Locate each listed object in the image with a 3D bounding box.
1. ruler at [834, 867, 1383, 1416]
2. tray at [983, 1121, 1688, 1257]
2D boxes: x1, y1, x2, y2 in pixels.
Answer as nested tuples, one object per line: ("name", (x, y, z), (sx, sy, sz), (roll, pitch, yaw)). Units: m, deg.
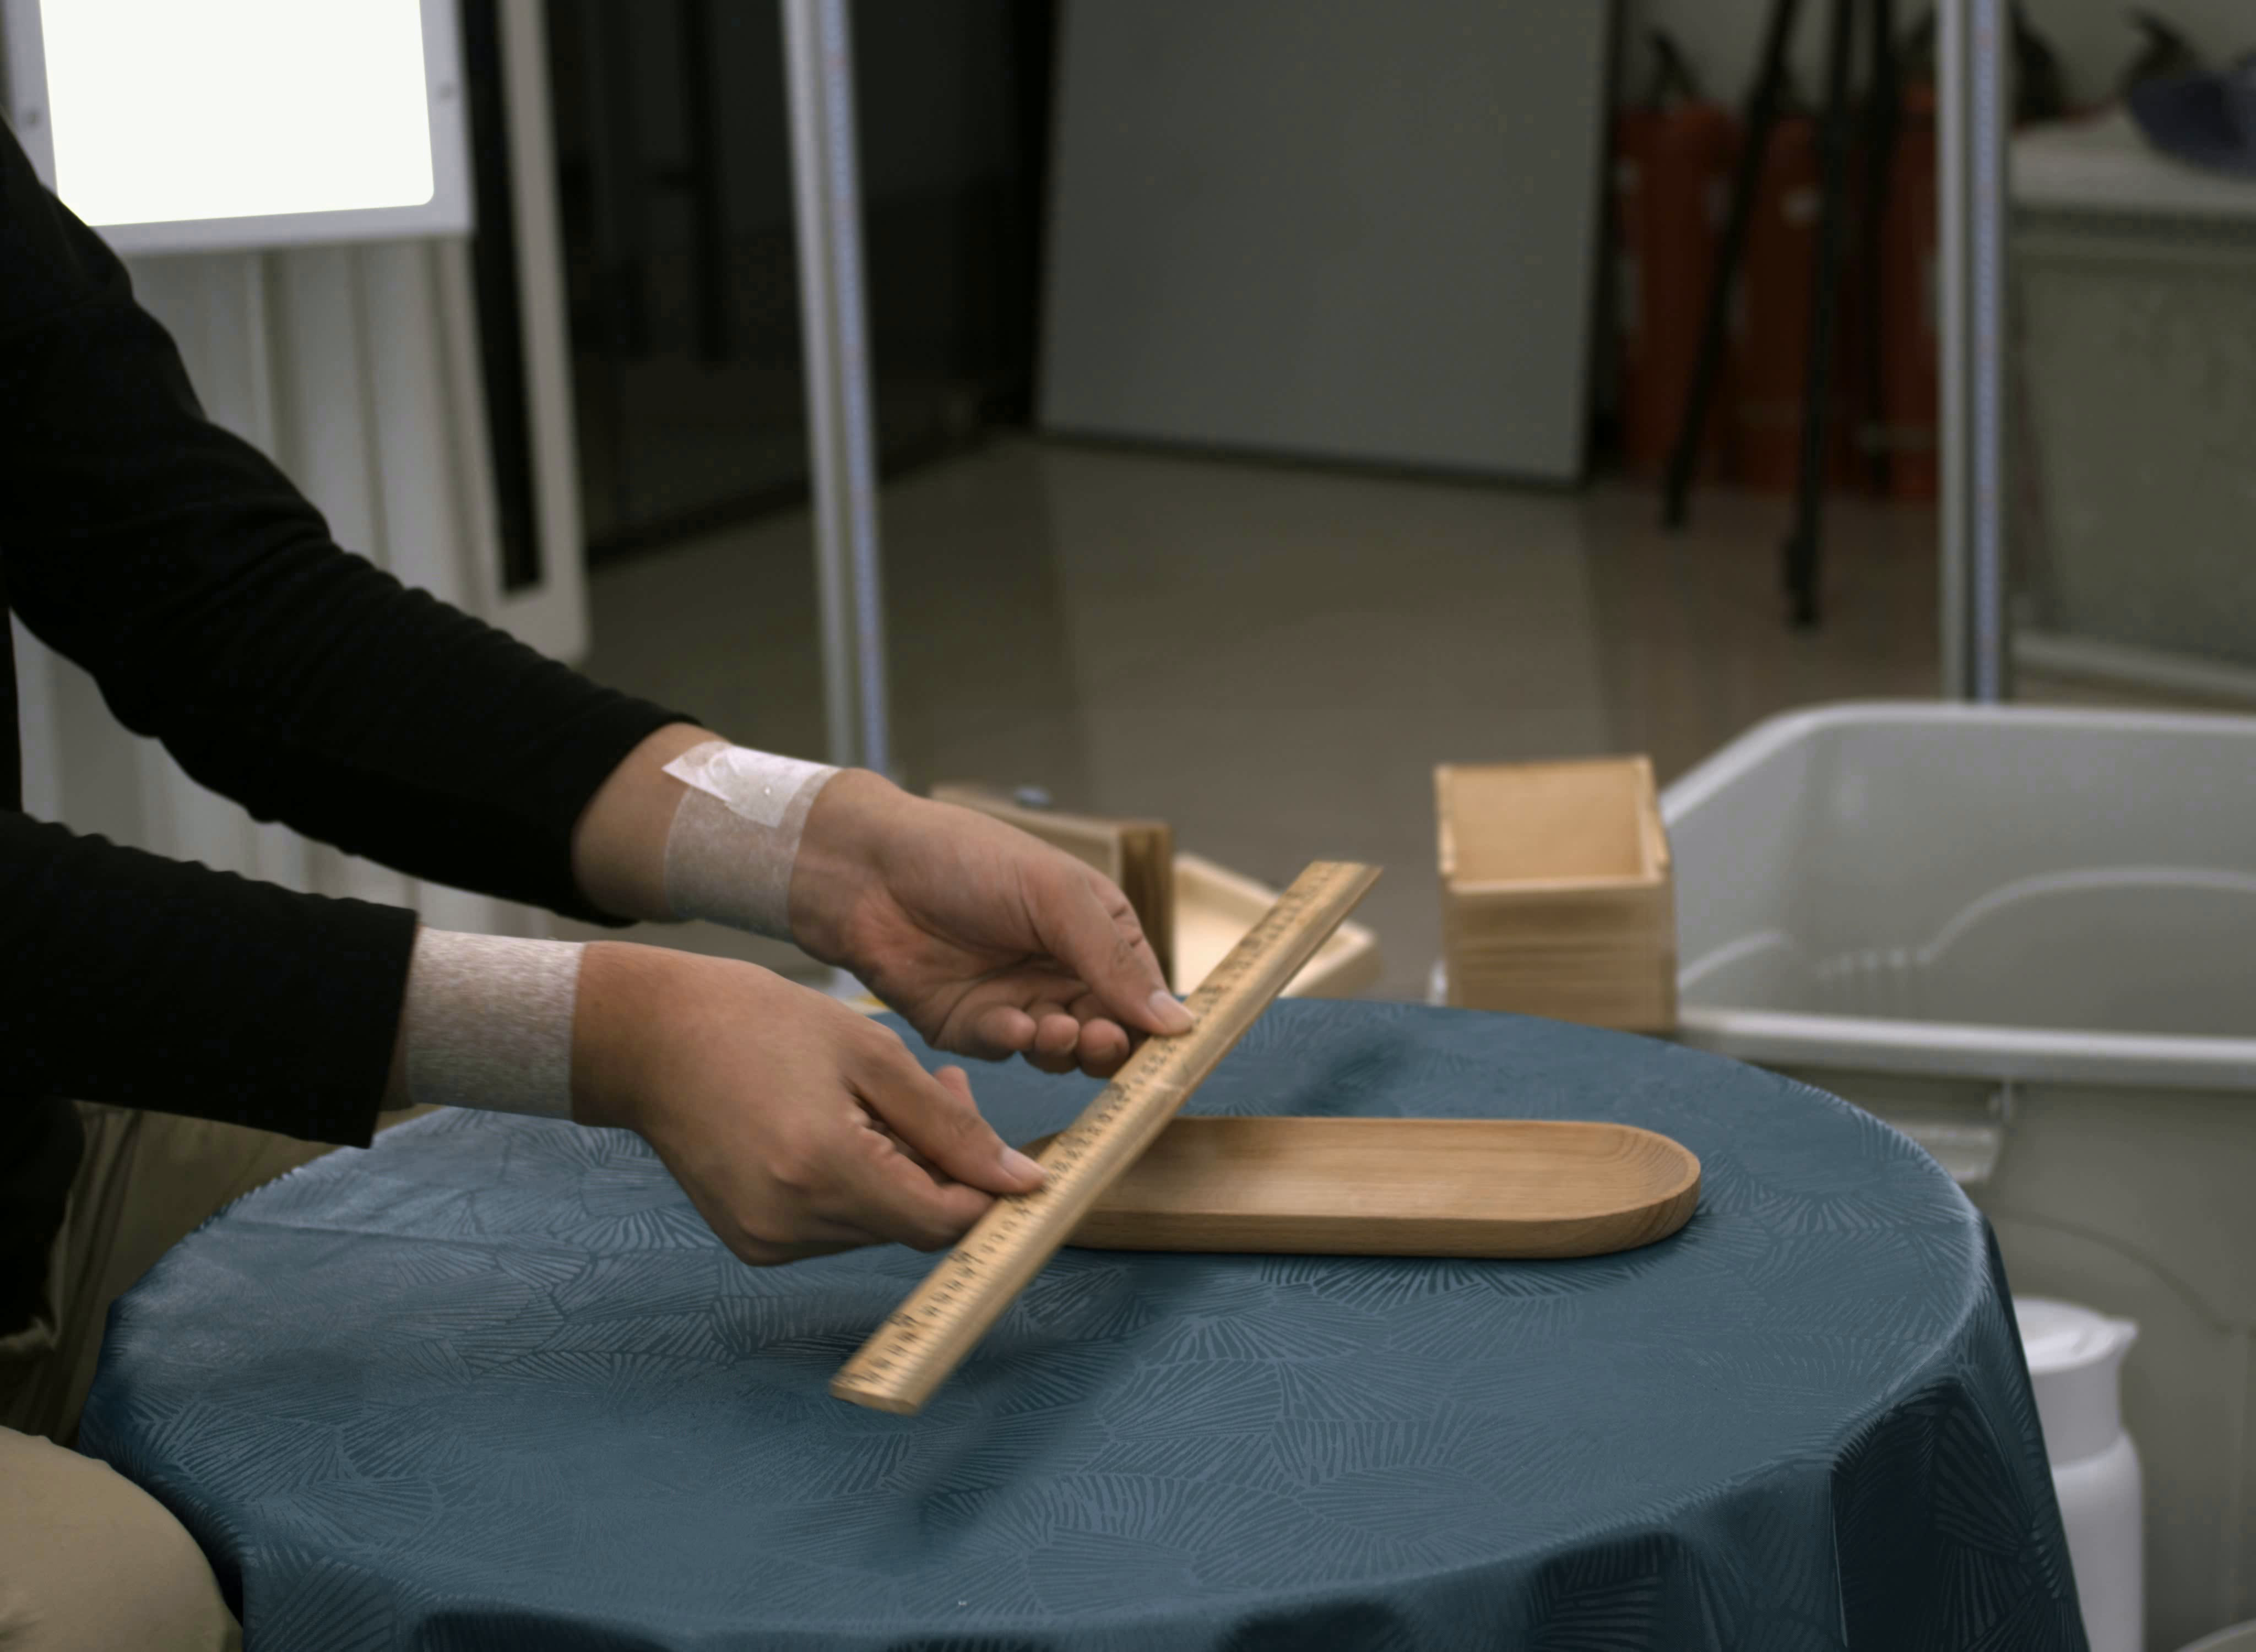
("ruler", (0.004, 0.088, 1.712), (0.027, 0.006, 0.496), (9, 19, 16))
("tray", (0.066, 0.117, 1.731), (0.230, 0.020, 0.101), (-3, 12, 14))
